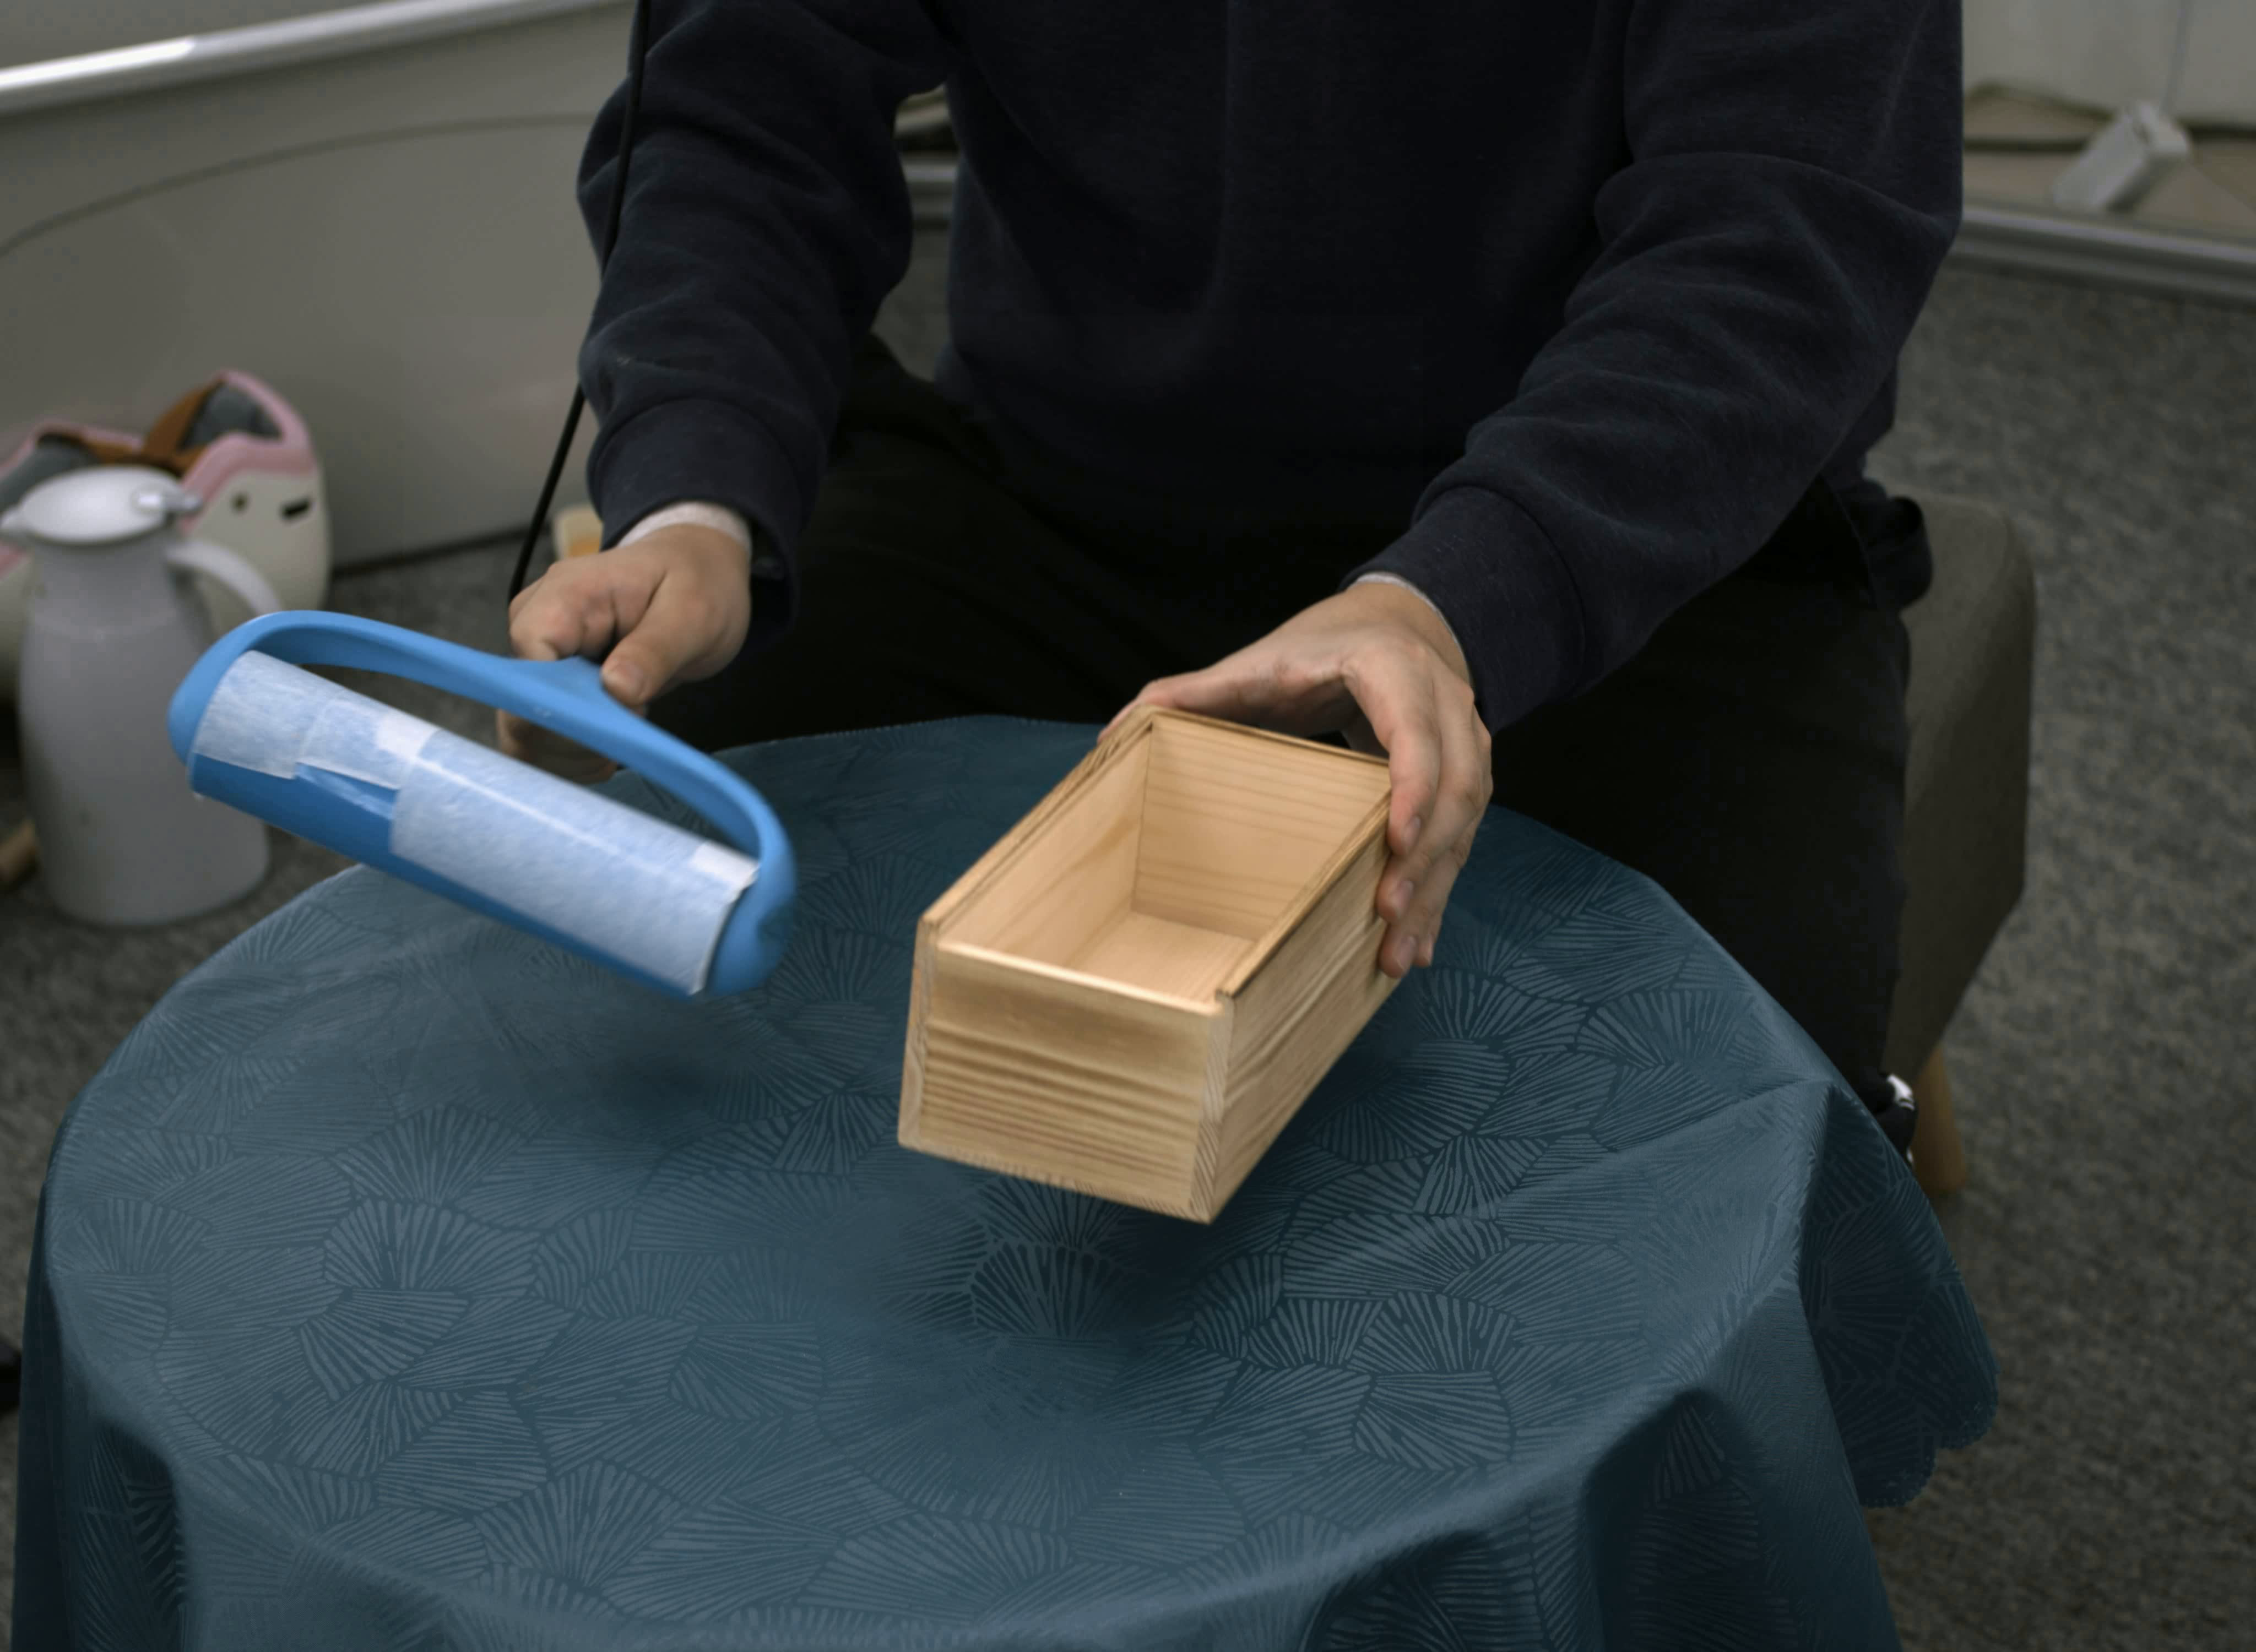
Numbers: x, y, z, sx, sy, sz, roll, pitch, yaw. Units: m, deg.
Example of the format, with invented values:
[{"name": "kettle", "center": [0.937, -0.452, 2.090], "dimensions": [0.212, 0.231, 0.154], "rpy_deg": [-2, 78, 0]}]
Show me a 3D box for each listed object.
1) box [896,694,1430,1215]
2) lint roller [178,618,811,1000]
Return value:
[{"name": "box", "center": [0.014, 0.038, 1.836], "dimensions": [0.107, 0.079, 0.214], "rpy_deg": [13, 23, 15]}, {"name": "lint roller", "center": [-0.203, -0.027, 1.972], "dimensions": [0.228, 0.067, 0.183], "rpy_deg": [19, 30, 6]}]
